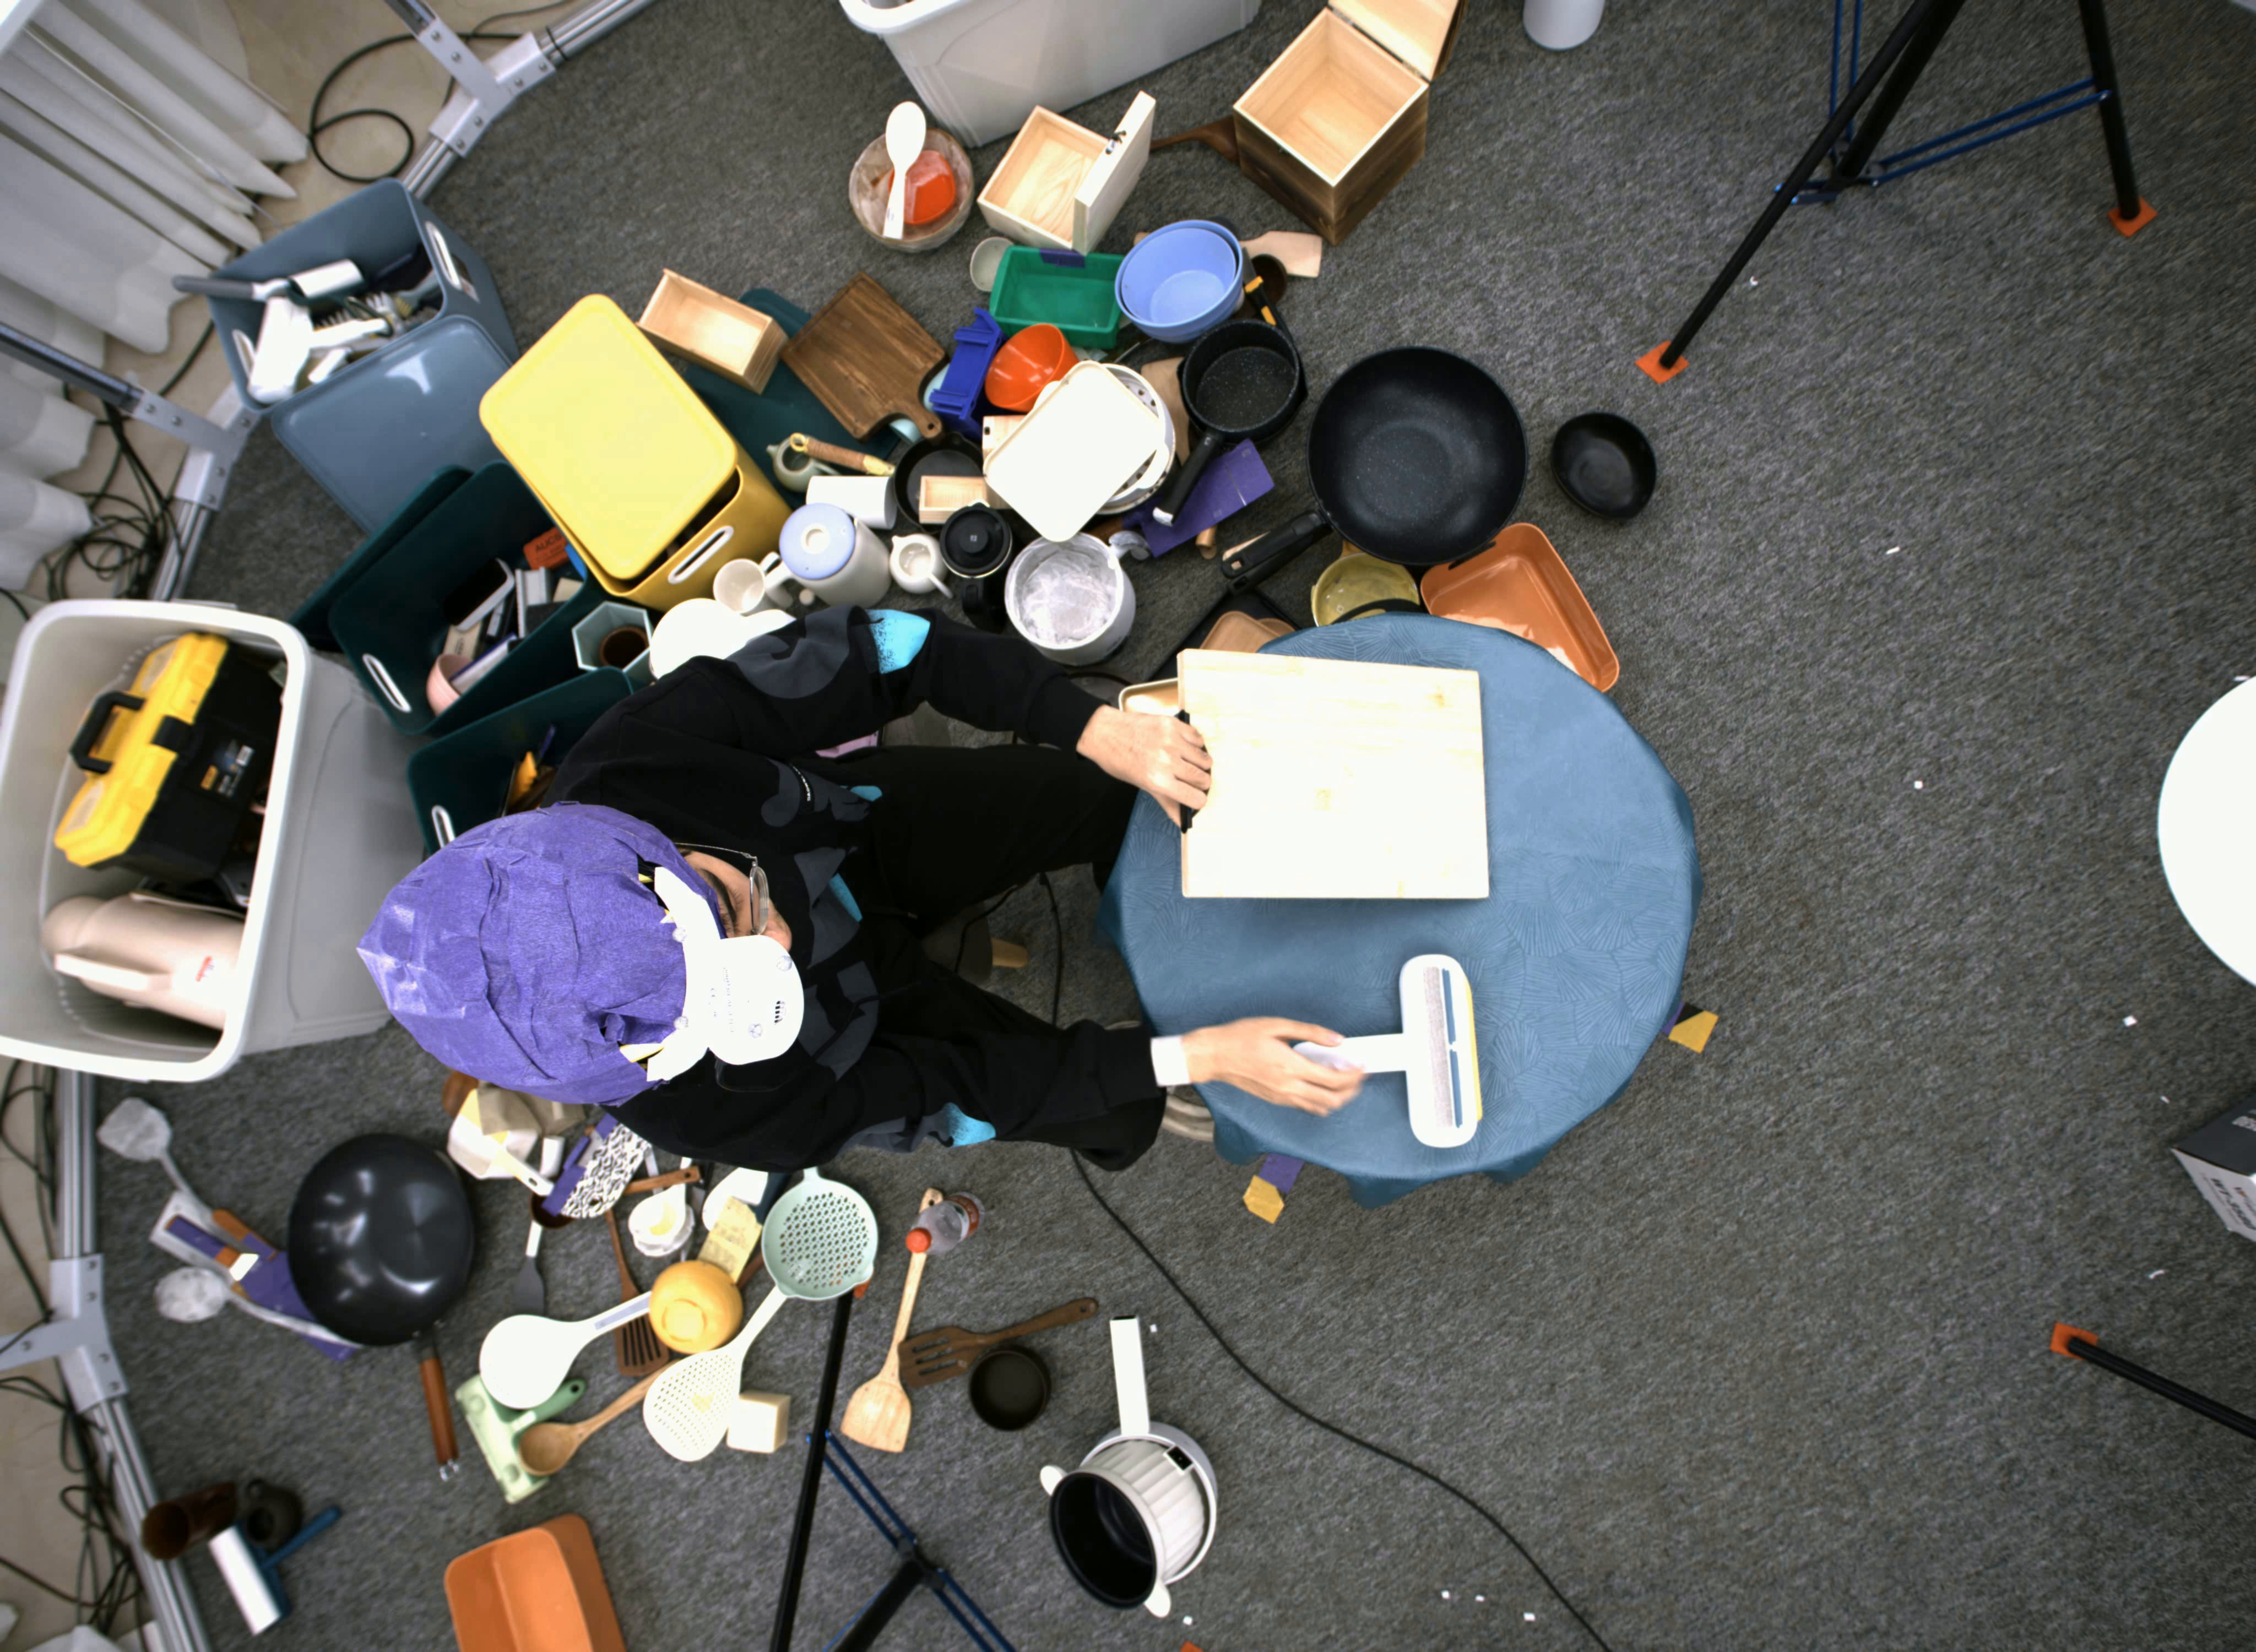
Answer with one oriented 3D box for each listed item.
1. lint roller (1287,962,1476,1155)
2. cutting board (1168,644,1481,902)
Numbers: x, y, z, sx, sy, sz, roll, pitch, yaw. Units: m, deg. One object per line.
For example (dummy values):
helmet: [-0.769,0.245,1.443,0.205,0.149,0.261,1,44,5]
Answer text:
lint roller: [0.257,0.235,1.416,0.193,0.074,0.191,-1,81,12]
cutting board: [0.203,-0.049,1.377,0.347,0.024,0.249,0,86,-20]
